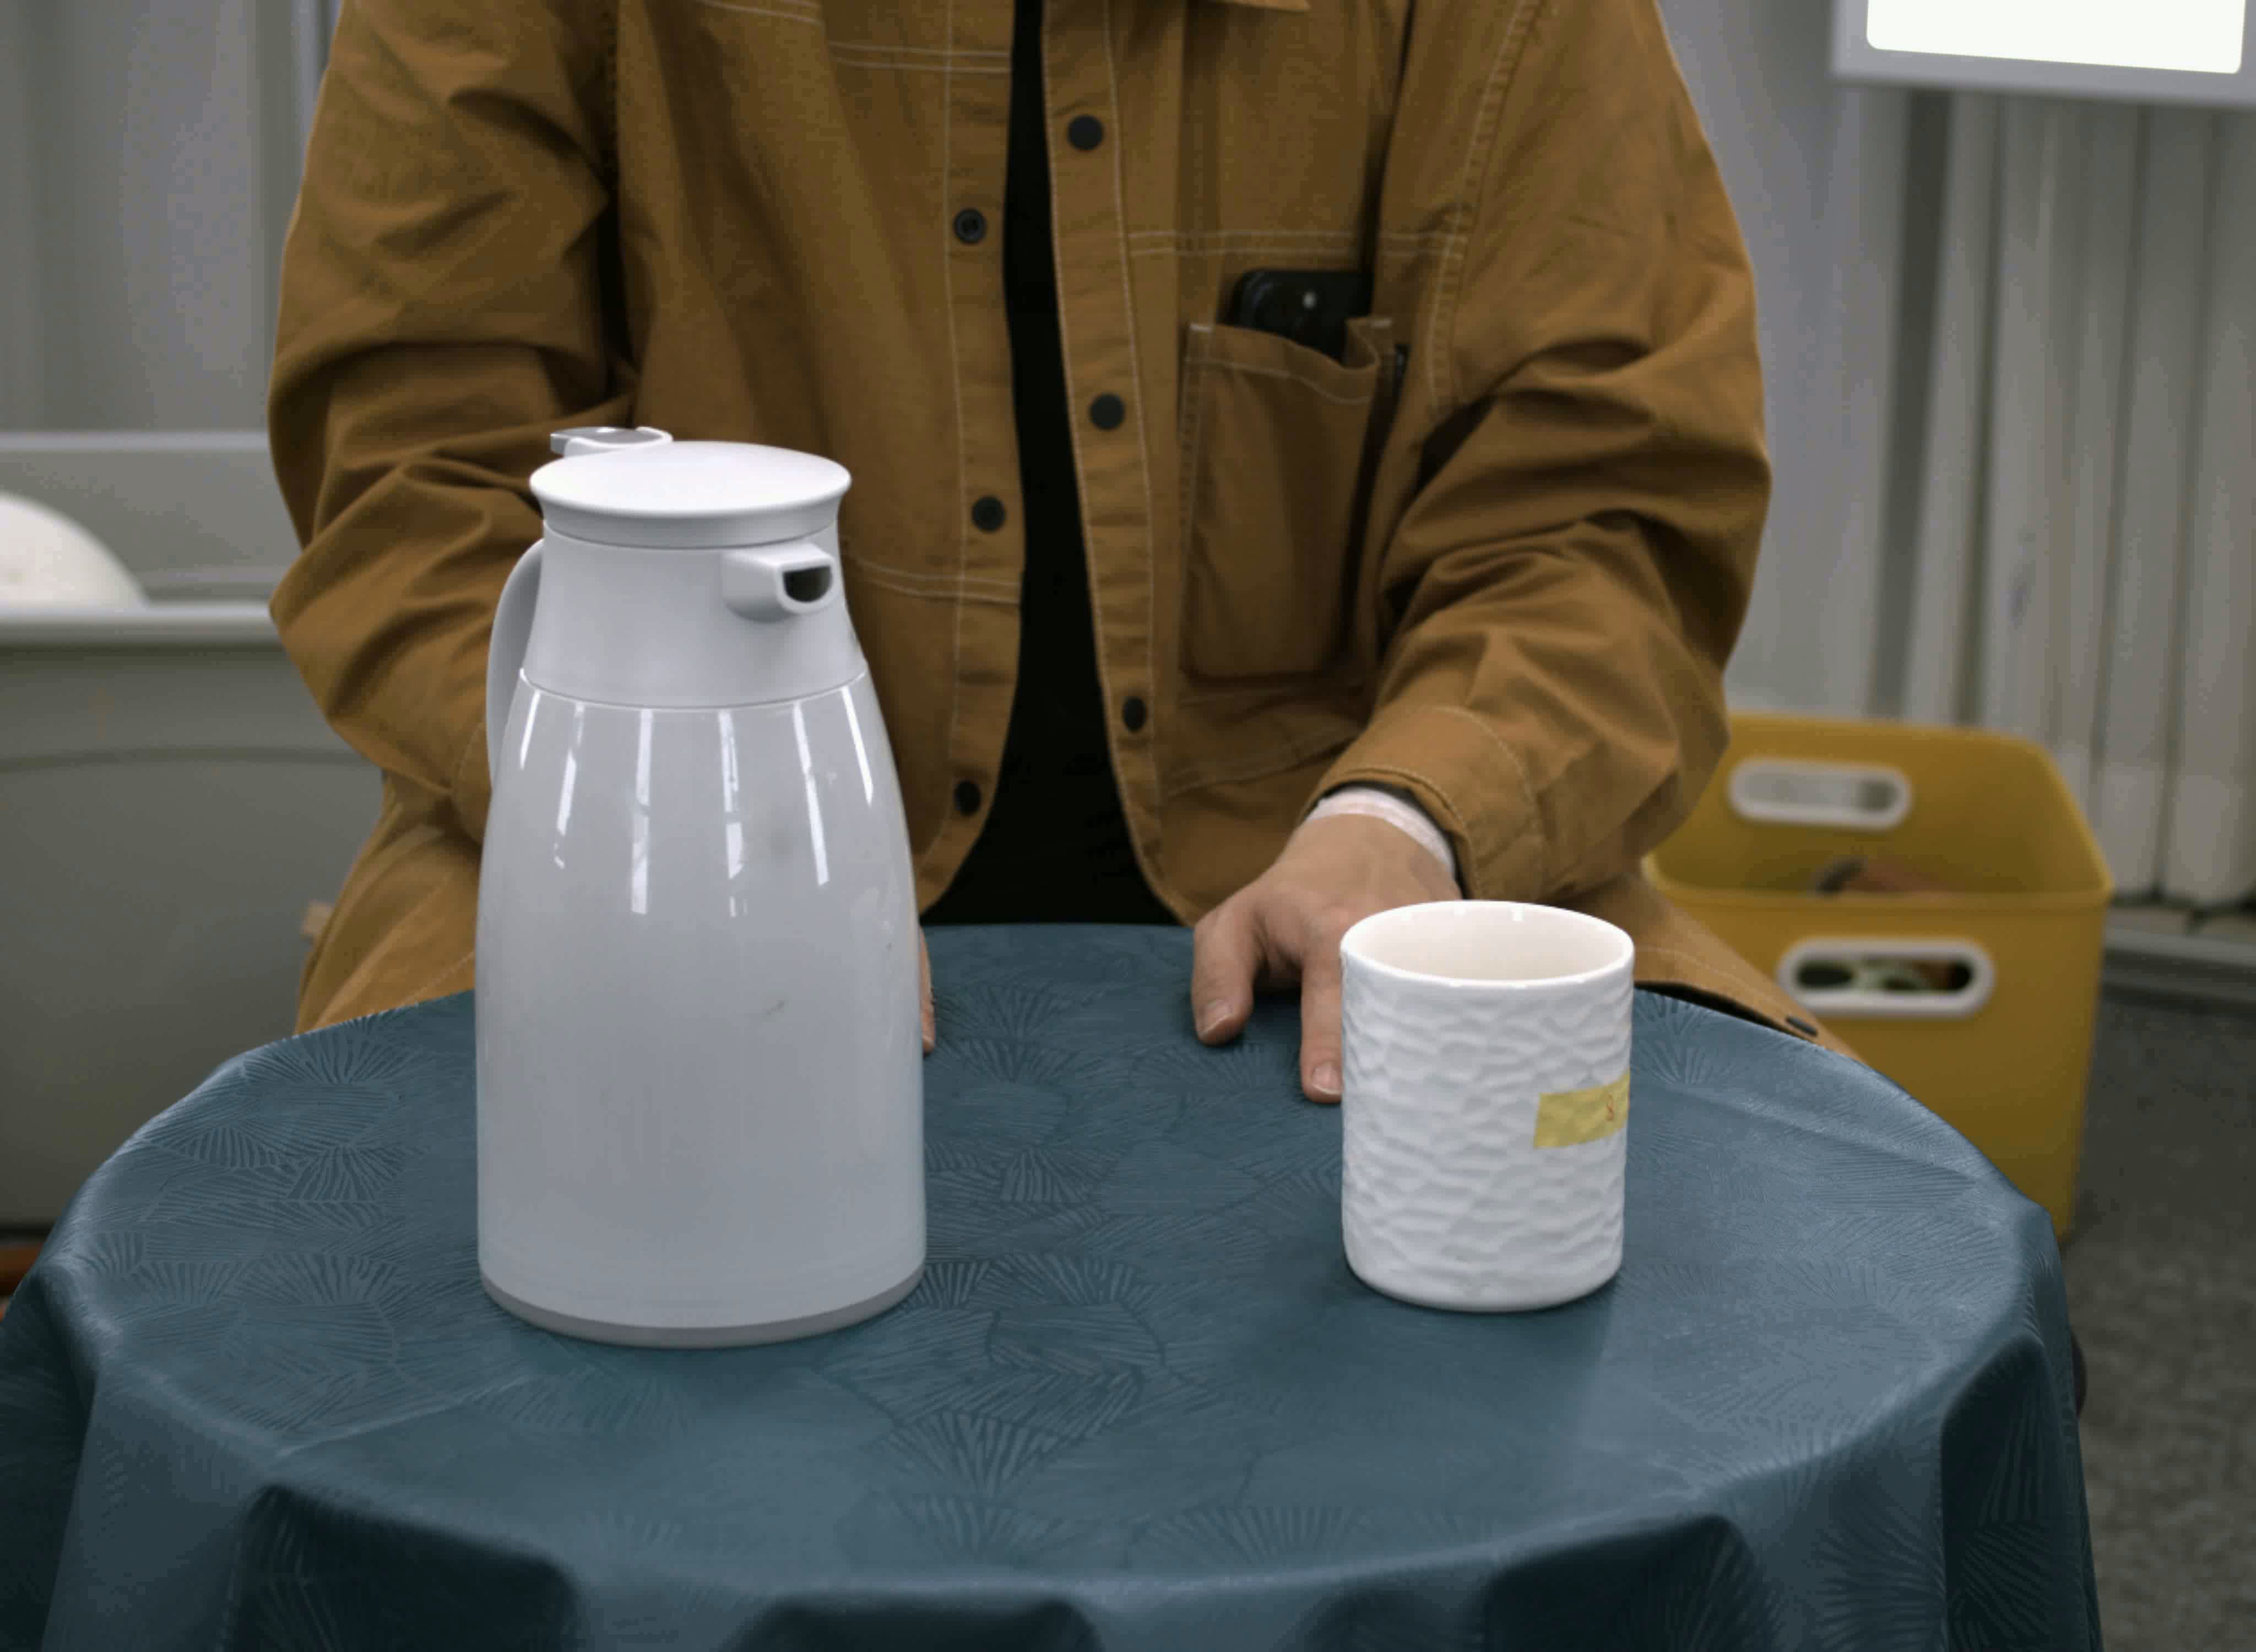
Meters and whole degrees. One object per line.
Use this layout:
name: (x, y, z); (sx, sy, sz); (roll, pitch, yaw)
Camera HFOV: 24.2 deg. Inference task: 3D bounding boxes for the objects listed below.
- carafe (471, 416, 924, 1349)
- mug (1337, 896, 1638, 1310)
carafe: (-0.138, 0.008, 1.529); (0.133, 0.250, 0.165); (-13, 20, -36)
mug: (0.097, 0.077, 1.557); (0.085, 0.103, 0.117); (-8, 18, -29)
